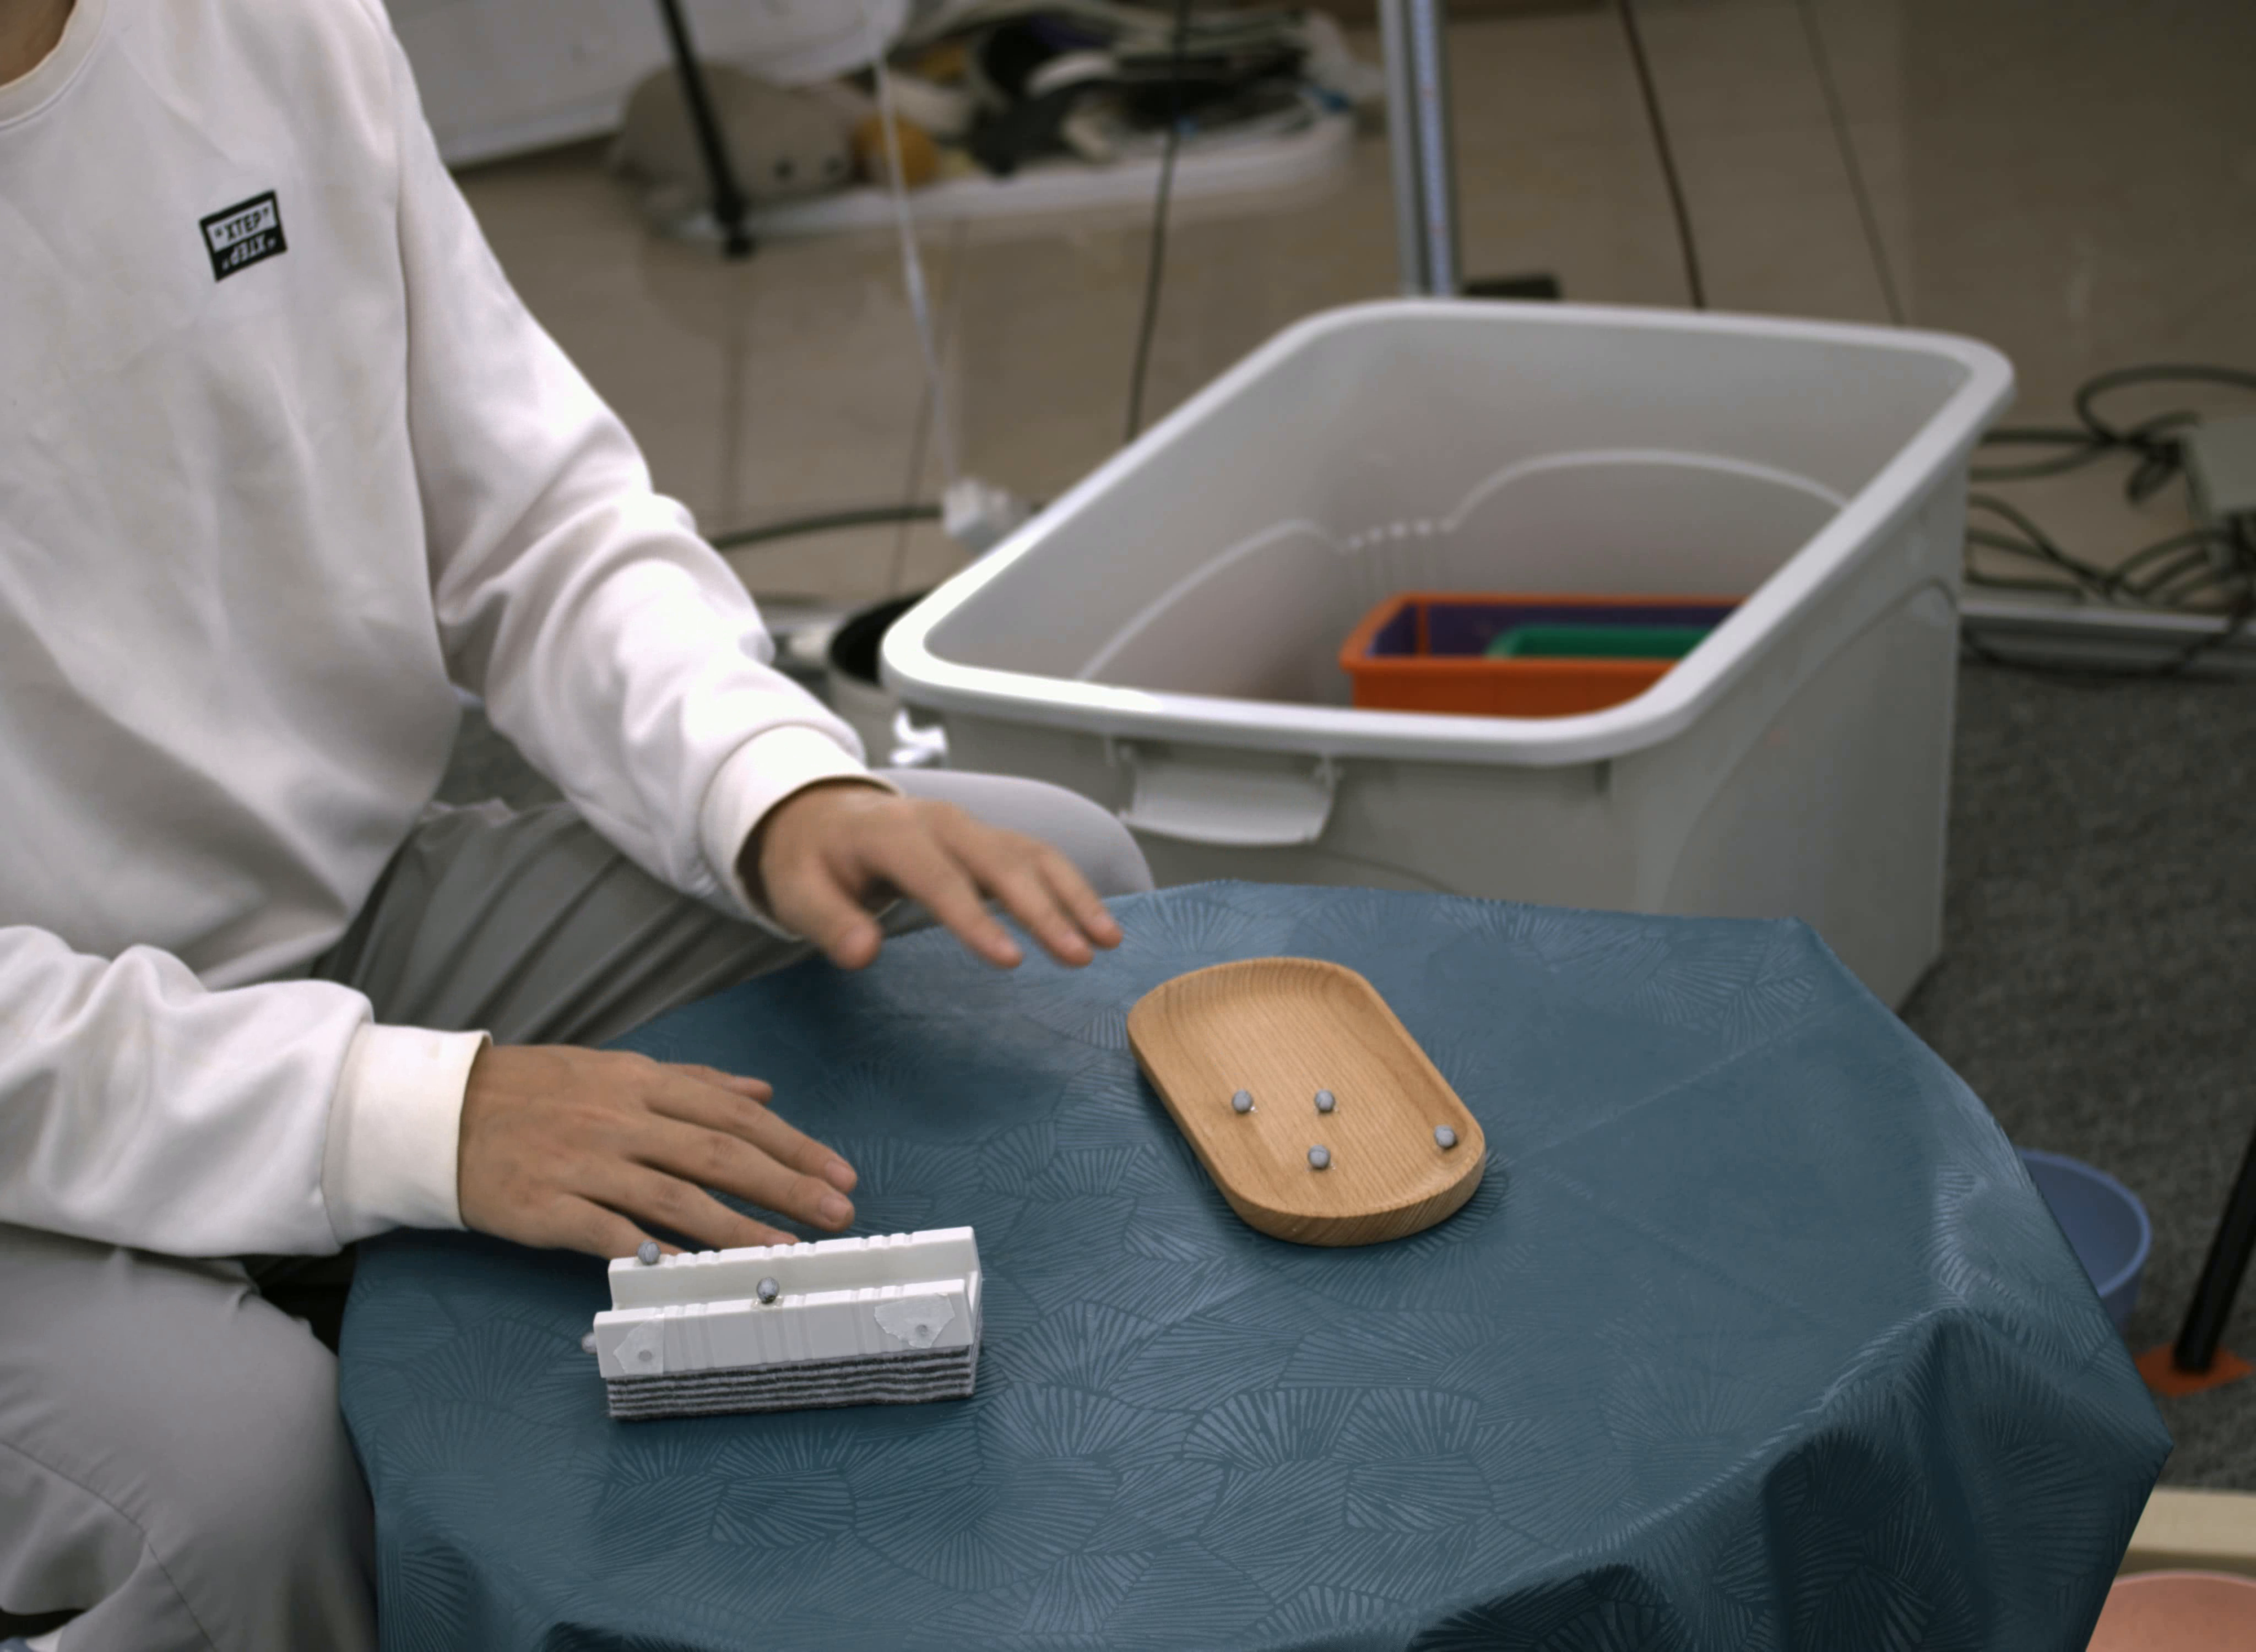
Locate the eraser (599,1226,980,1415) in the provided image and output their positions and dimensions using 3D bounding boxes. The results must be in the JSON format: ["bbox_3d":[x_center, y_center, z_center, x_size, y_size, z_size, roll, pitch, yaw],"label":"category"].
[{"bbox_3d":[-0.120,0.177,2.035,0.134,0.047,0.049,-7,20,1],"label":"eraser"}]

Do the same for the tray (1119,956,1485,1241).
[{"bbox_3d":[0.066,0.103,2.188,0.101,0.020,0.228,-12,24,-13],"label":"tray"}]
